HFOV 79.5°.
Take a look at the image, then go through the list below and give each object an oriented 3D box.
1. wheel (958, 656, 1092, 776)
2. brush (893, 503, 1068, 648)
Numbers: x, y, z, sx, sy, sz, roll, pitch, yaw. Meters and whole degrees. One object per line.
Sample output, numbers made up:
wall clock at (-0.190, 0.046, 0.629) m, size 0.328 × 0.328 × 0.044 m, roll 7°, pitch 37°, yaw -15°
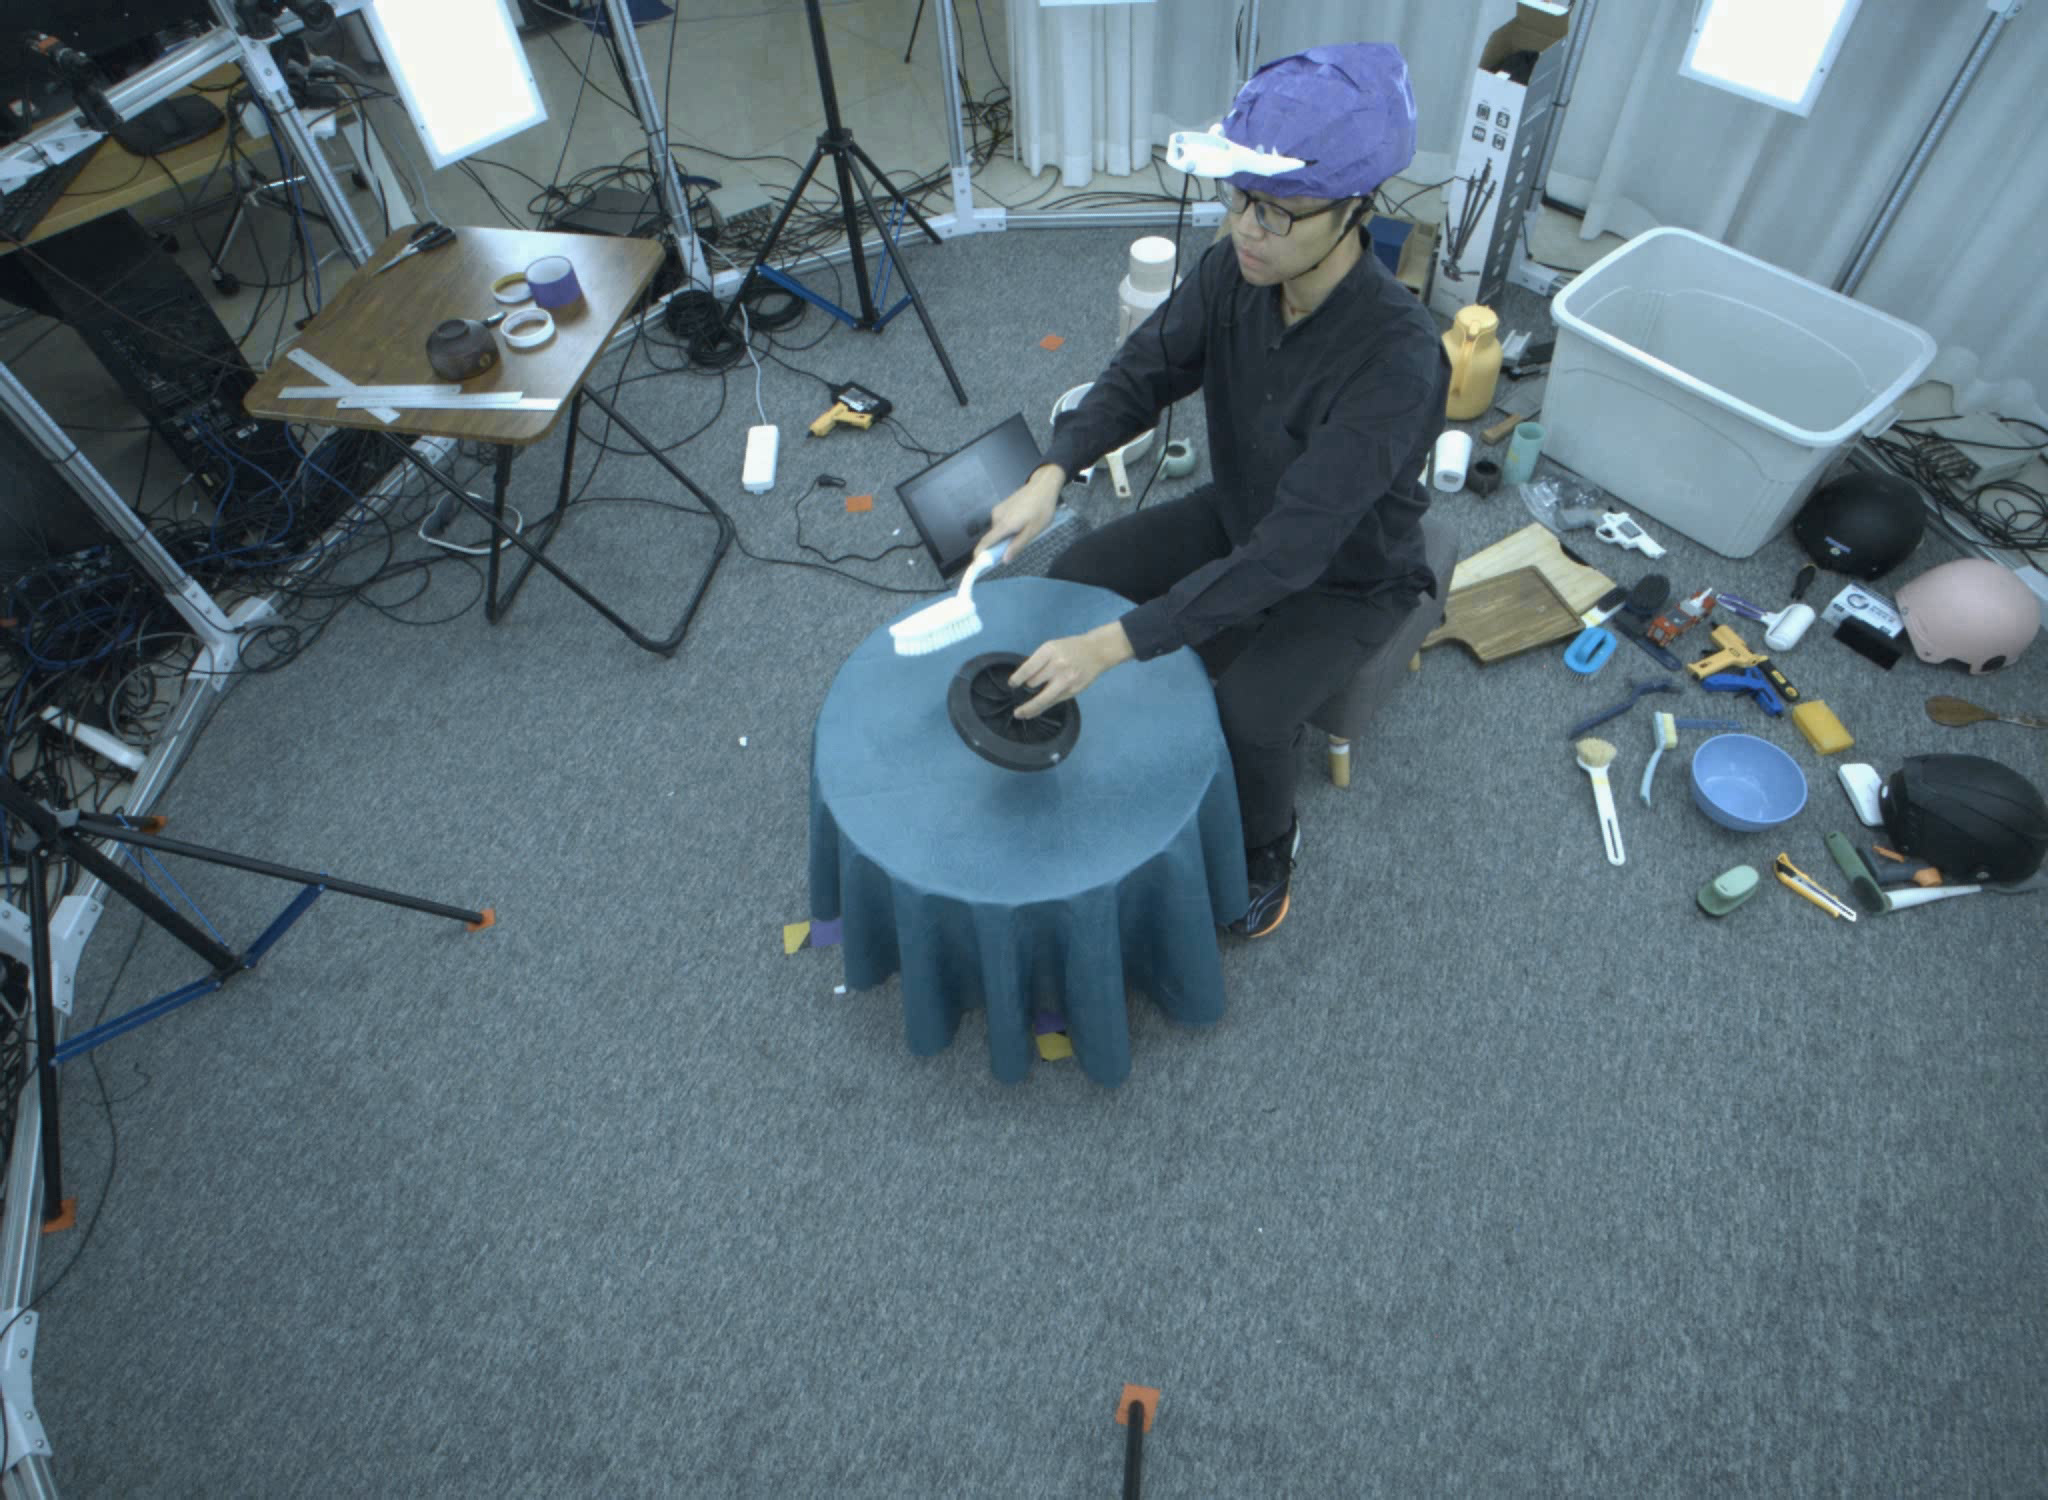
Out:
wheel at (0.010, -0.060, 1.638) m, size 0.189 × 0.079 × 0.188 m, roll 20°, pitch 50°, yaw -13°
brush at (-0.048, -0.240, 1.785) m, size 0.327 × 0.085 × 0.082 m, roll -38°, pitch 72°, yaw -16°
